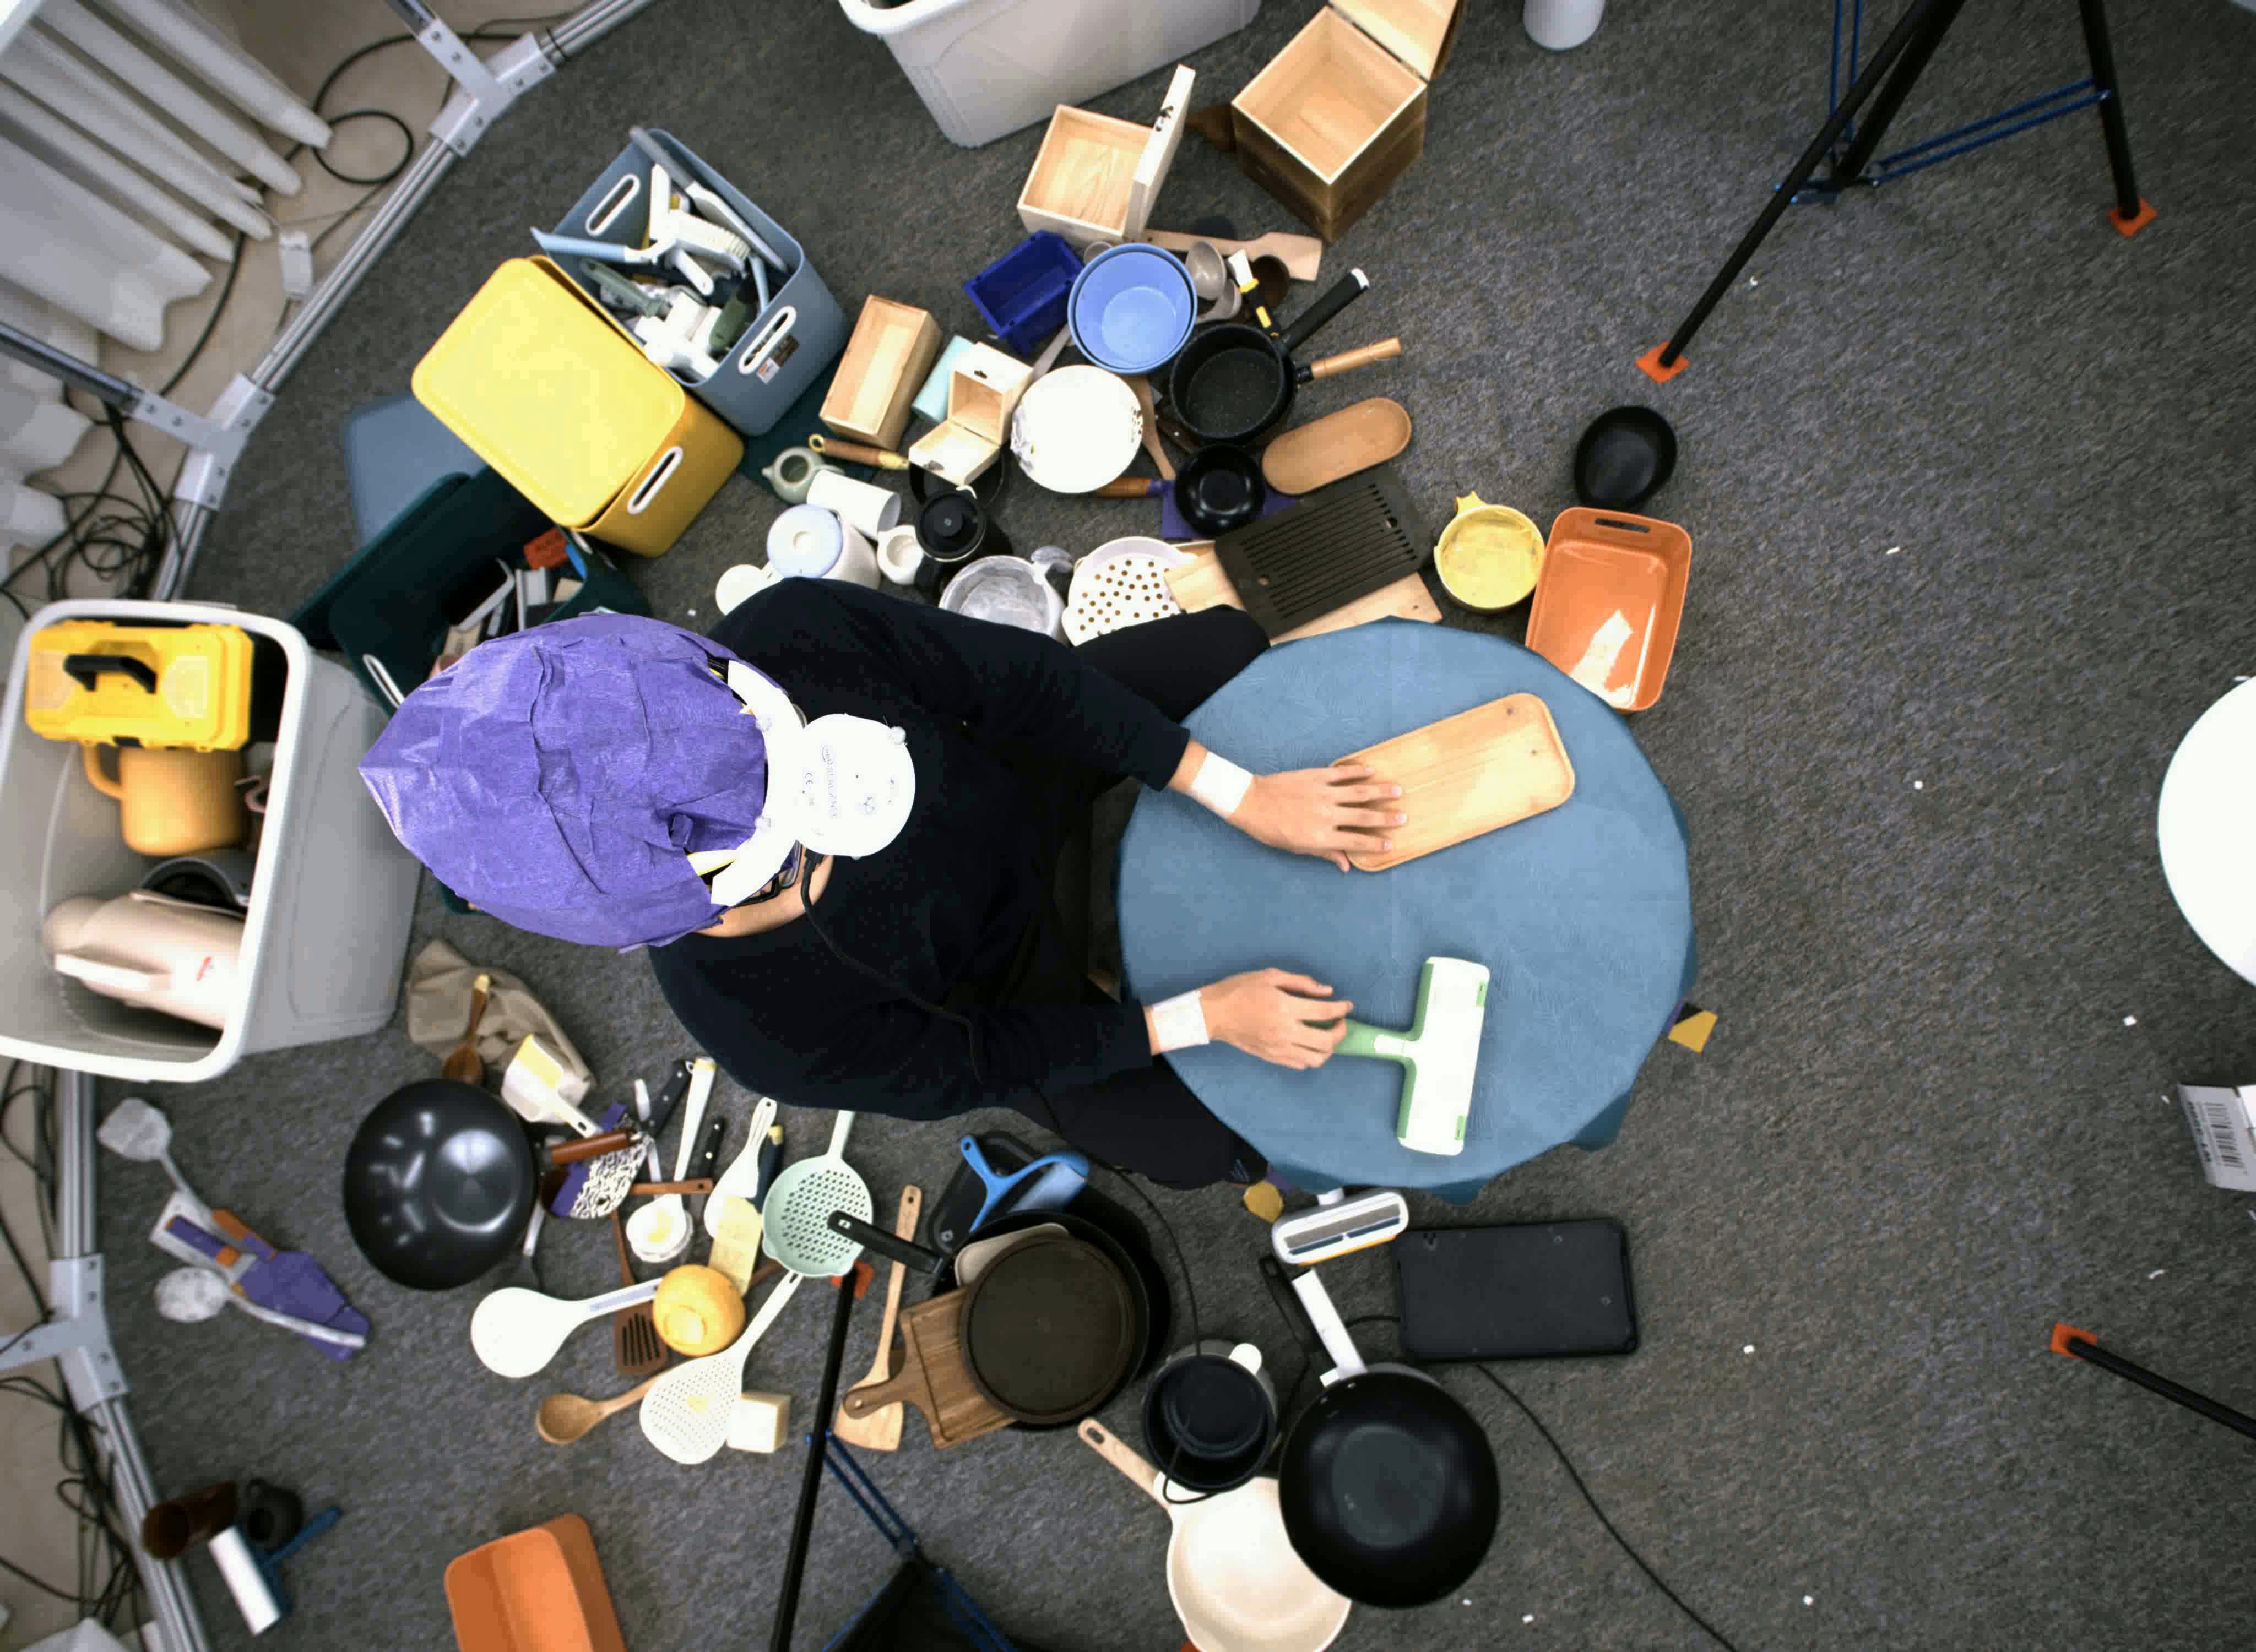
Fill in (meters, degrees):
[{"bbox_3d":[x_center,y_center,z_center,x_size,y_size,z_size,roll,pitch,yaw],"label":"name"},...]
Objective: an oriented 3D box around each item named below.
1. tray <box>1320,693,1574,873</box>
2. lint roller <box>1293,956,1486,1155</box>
[{"bbox_3d":[0.334,-0.046,1.446,0.252,0.023,0.129,-20,81,9],"label":"tray"},{"bbox_3d":[0.261,0.222,1.409,0.183,0.082,0.198,9,87,5],"label":"lint roller"}]
